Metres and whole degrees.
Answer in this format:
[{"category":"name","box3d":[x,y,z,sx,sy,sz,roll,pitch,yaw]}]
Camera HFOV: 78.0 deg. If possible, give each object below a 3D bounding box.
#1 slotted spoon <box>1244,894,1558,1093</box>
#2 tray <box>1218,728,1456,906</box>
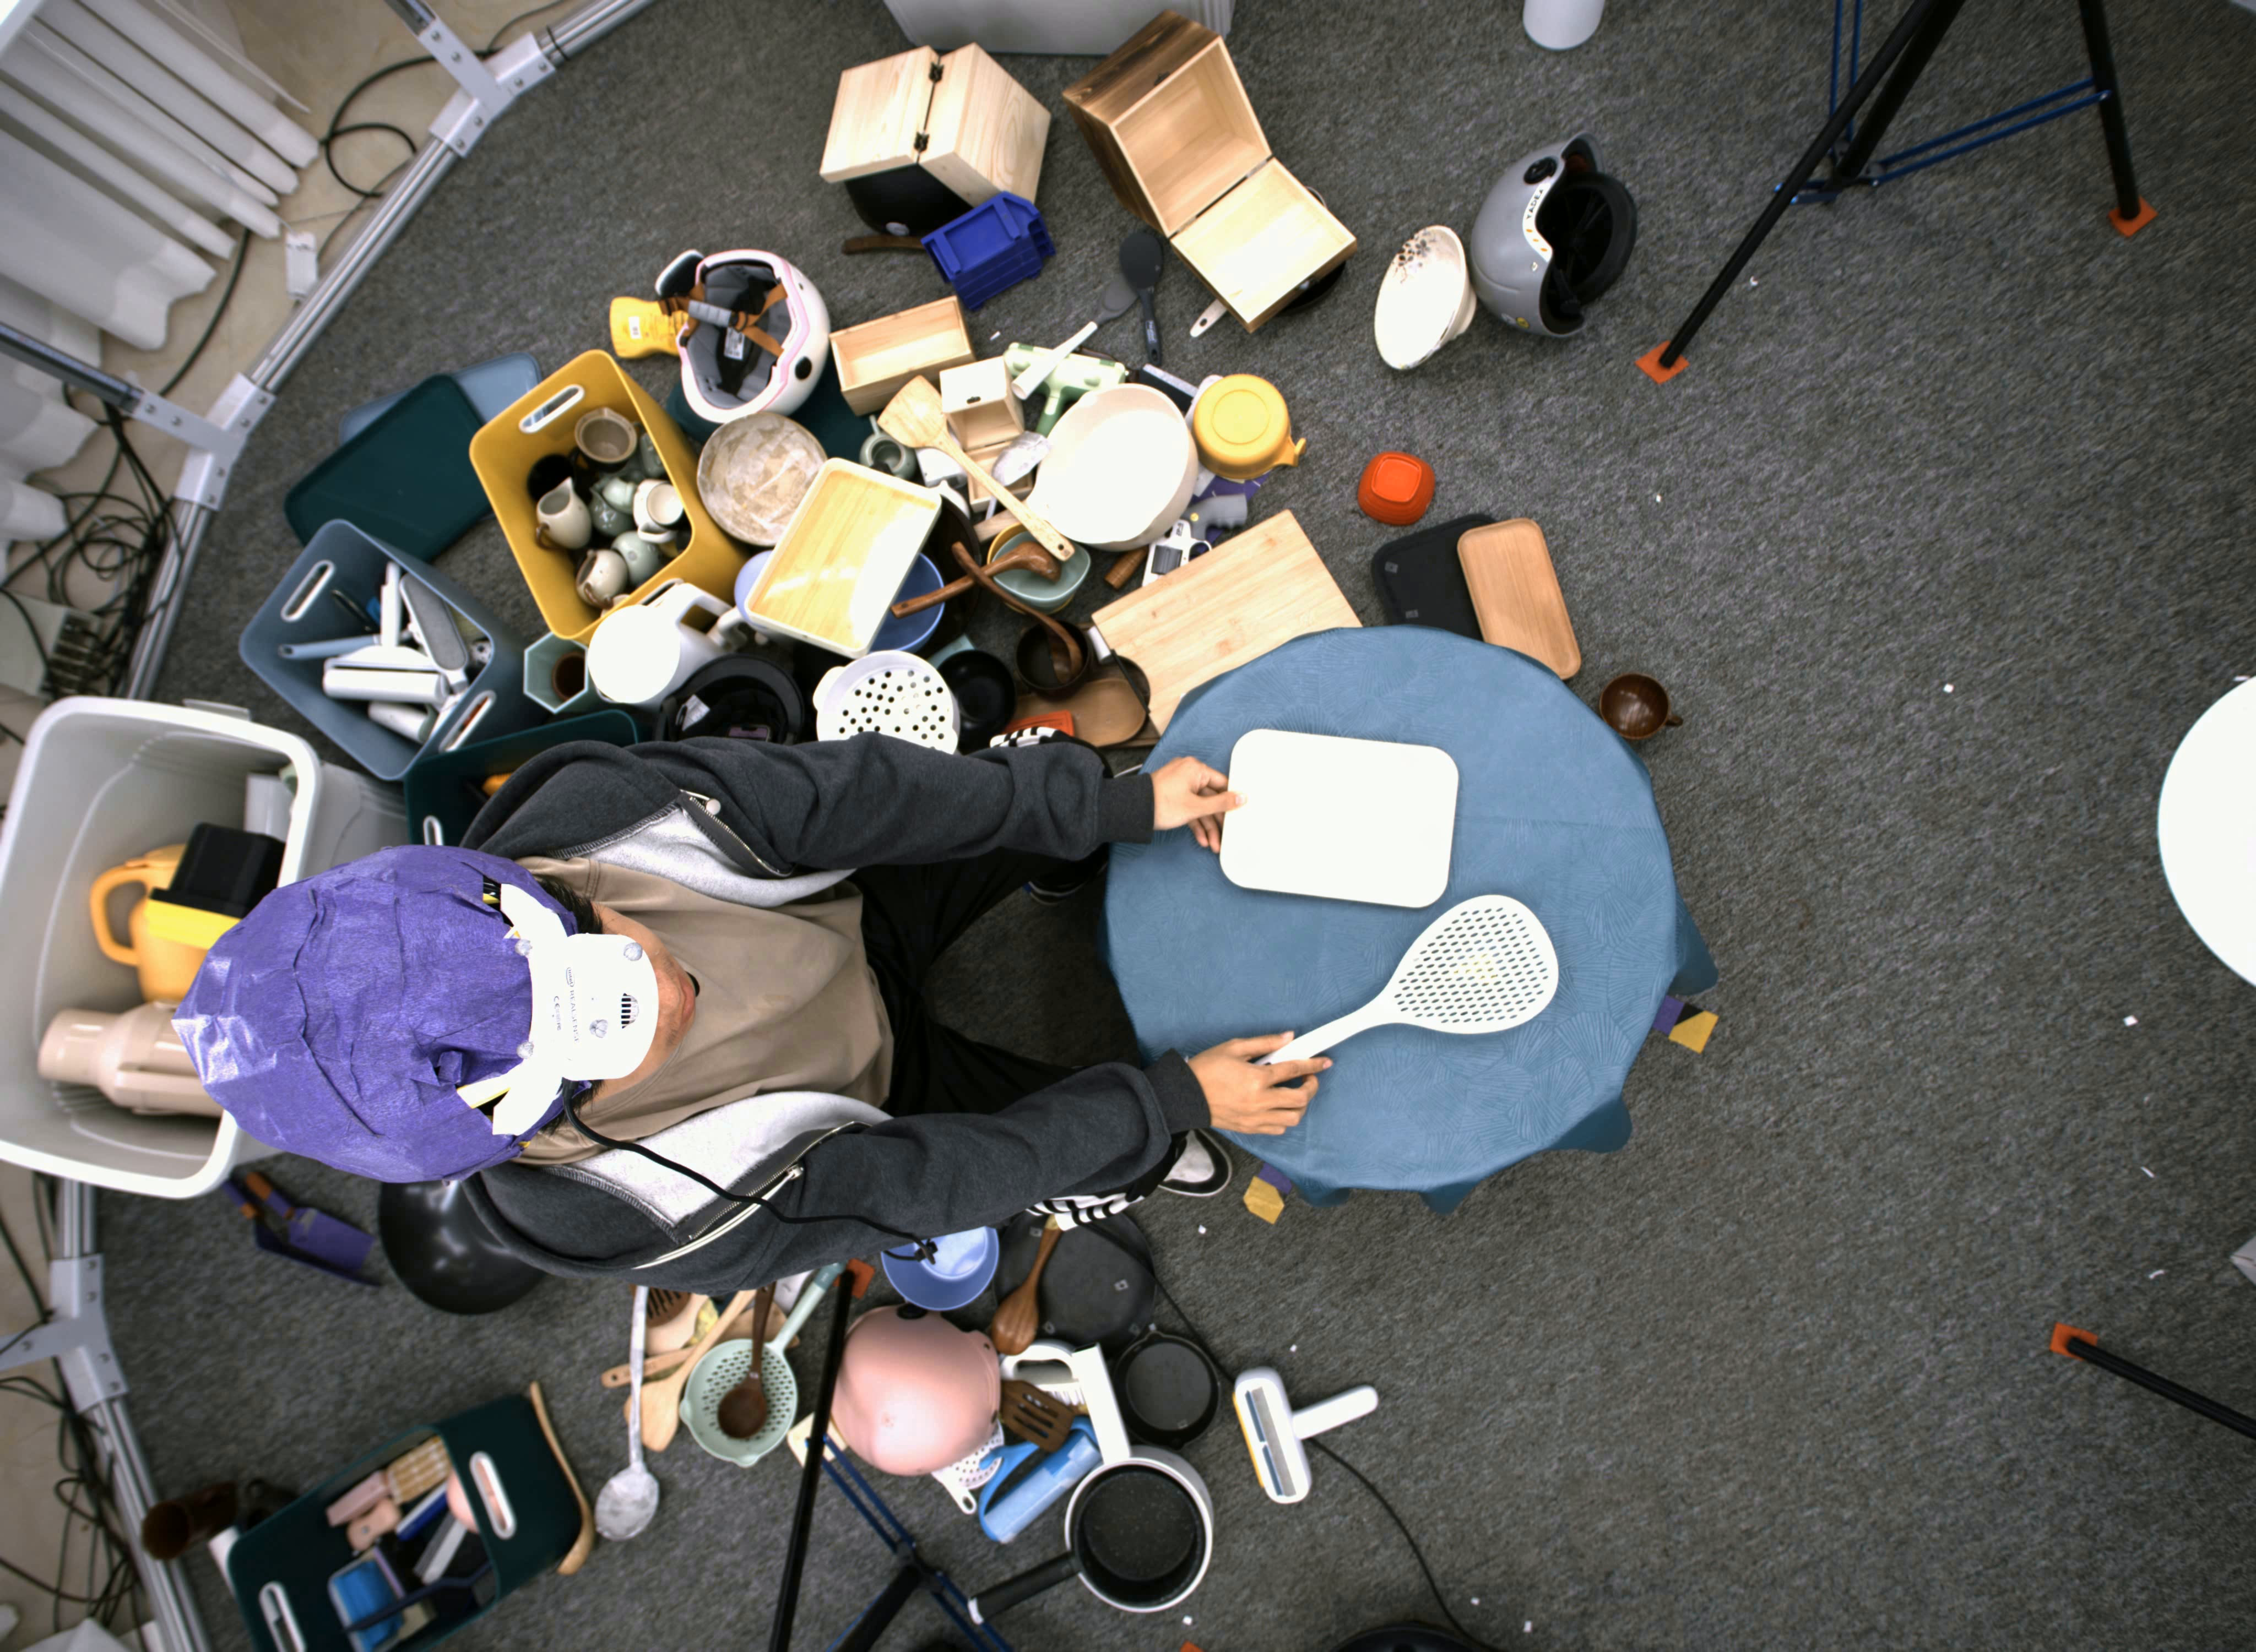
[{"category":"slotted spoon","box3d":[0.272,0.188,1.429,0.349,0.050,0.135,-26,80,7]},{"category":"tray","box3d":[0.220,-0.011,1.458,0.240,0.017,0.171,7,89,7]}]
